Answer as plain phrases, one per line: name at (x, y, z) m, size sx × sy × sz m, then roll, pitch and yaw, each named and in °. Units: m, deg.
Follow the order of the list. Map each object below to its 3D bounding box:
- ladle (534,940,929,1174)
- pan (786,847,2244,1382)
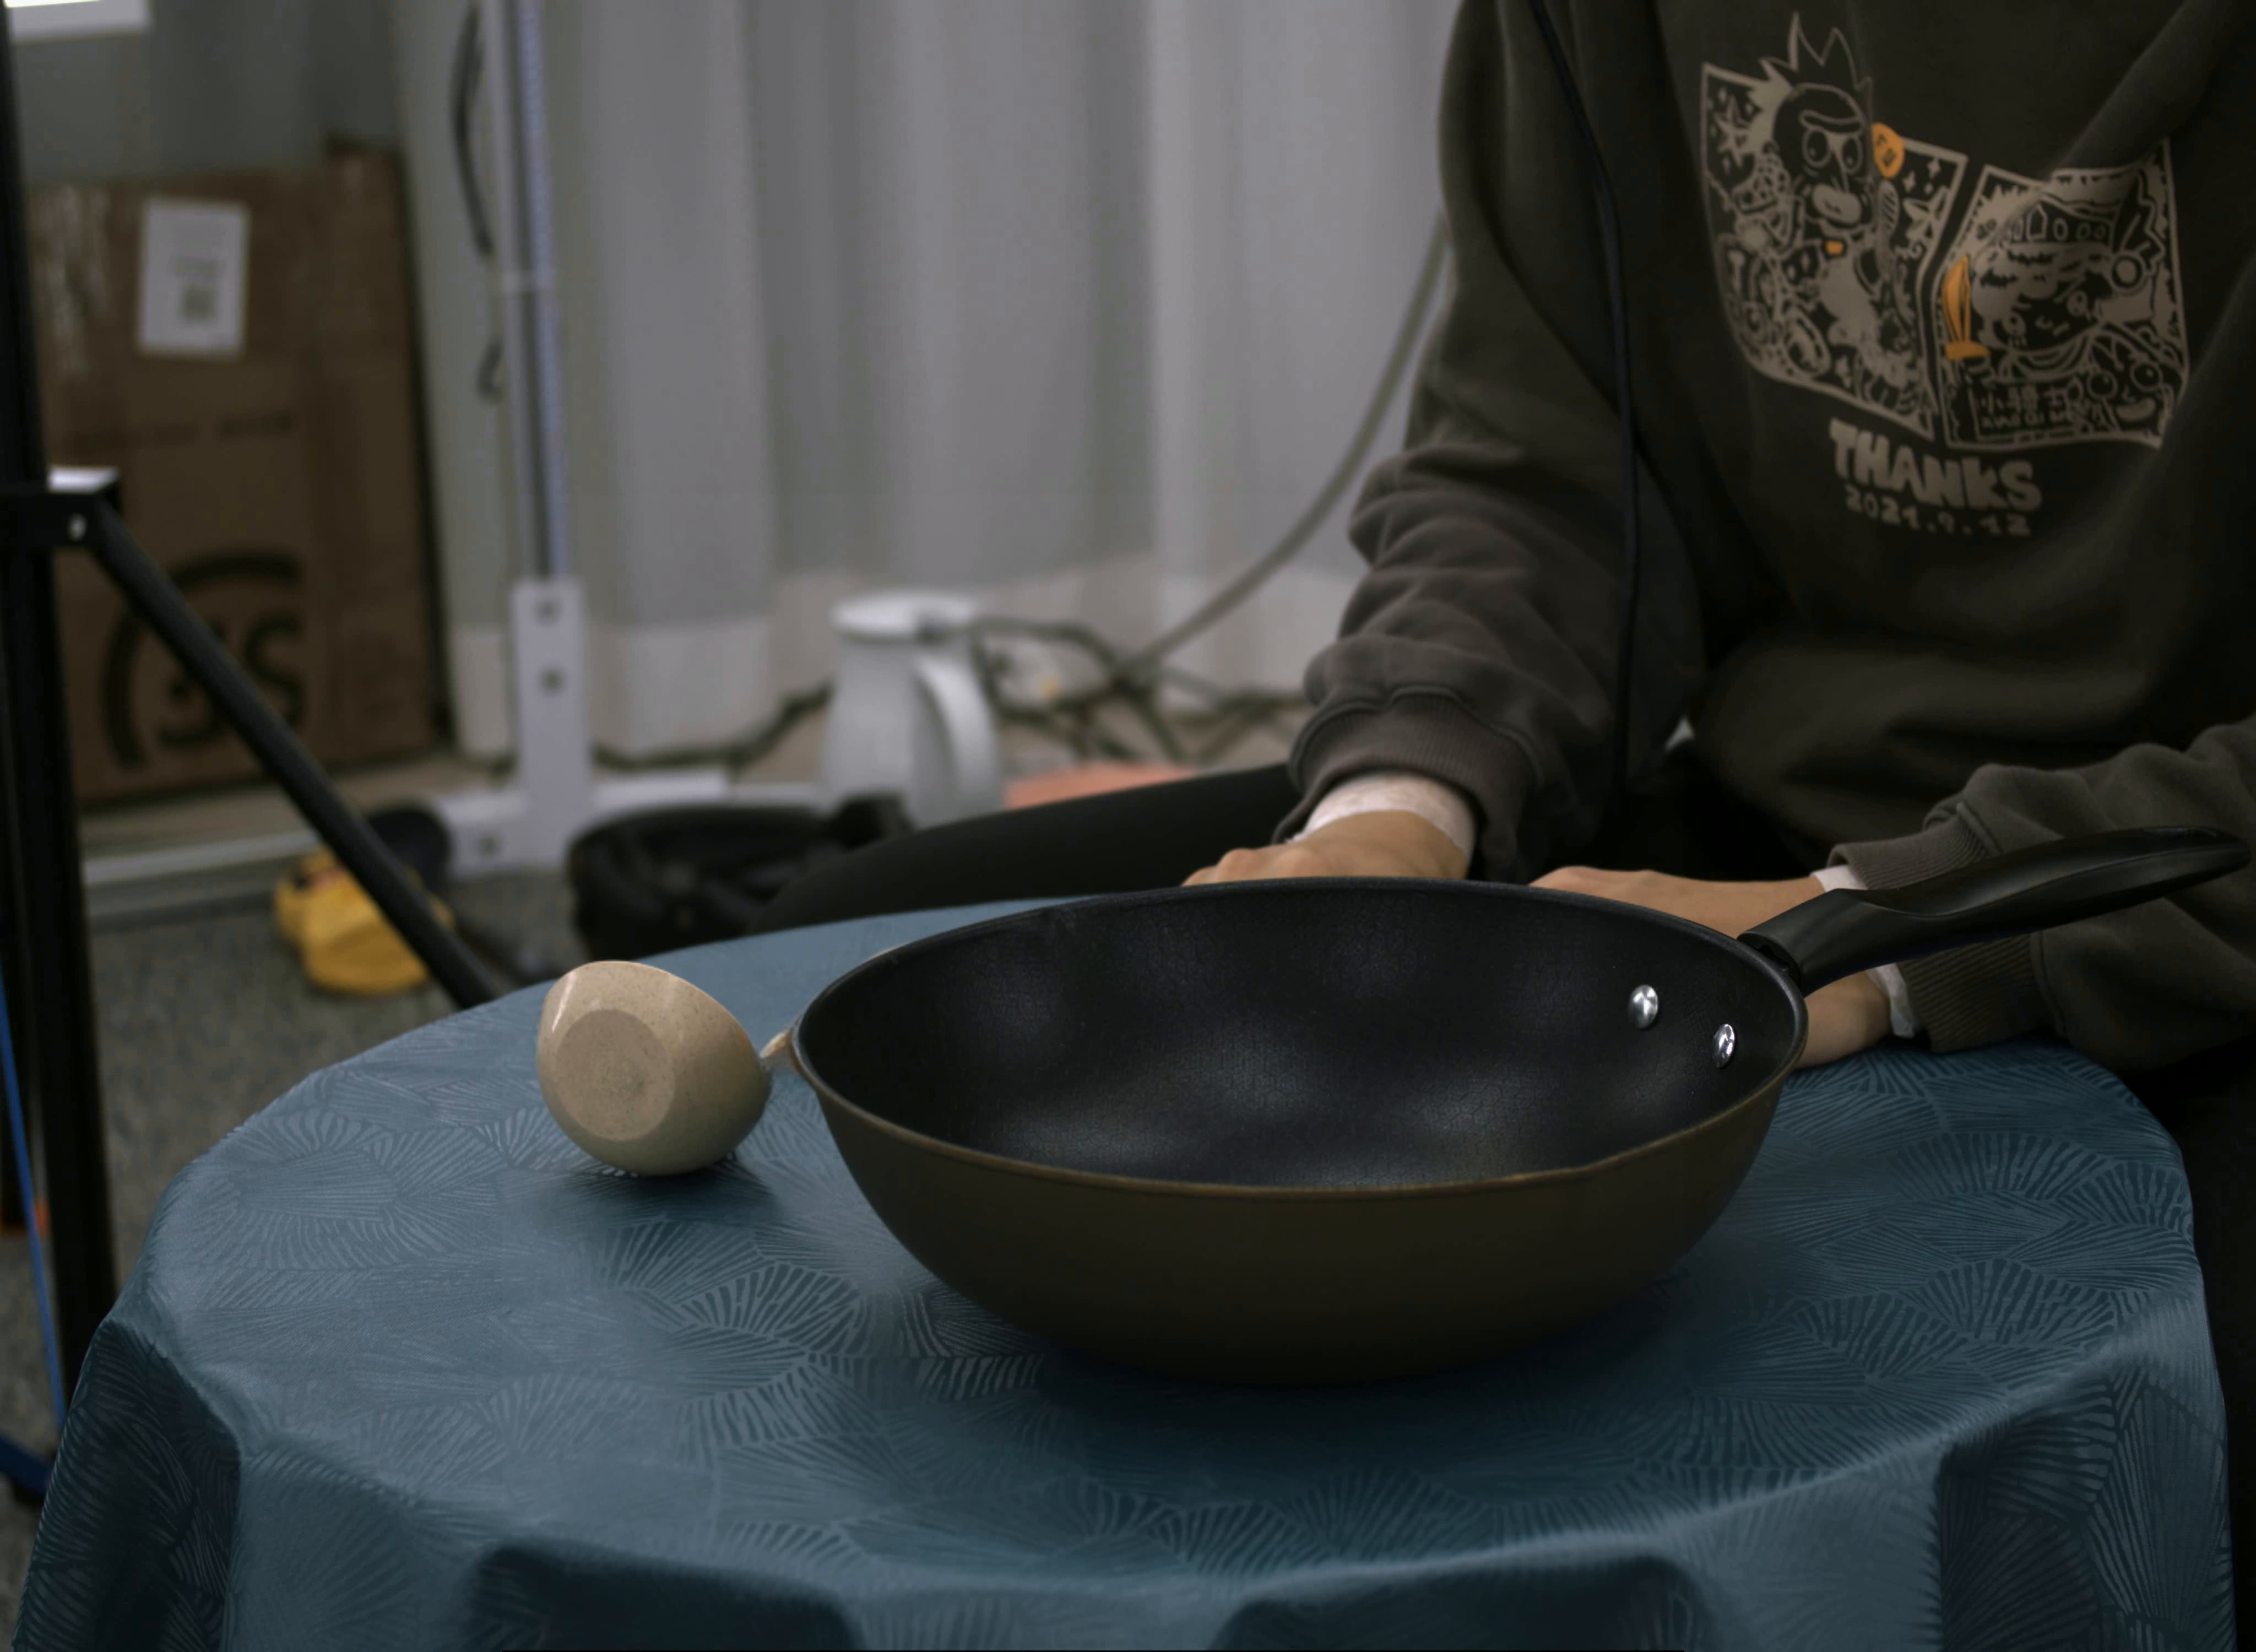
ladle at (-0.113, 0.042, 1.681) m, size 0.073 × 0.073 × 0.252 m, roll -3°, pitch 15°, yaw 19°
pan at (0.126, 0.075, 1.505) m, size 0.453 × 0.087 × 0.294 m, roll -9°, pitch 17°, yaw -25°
